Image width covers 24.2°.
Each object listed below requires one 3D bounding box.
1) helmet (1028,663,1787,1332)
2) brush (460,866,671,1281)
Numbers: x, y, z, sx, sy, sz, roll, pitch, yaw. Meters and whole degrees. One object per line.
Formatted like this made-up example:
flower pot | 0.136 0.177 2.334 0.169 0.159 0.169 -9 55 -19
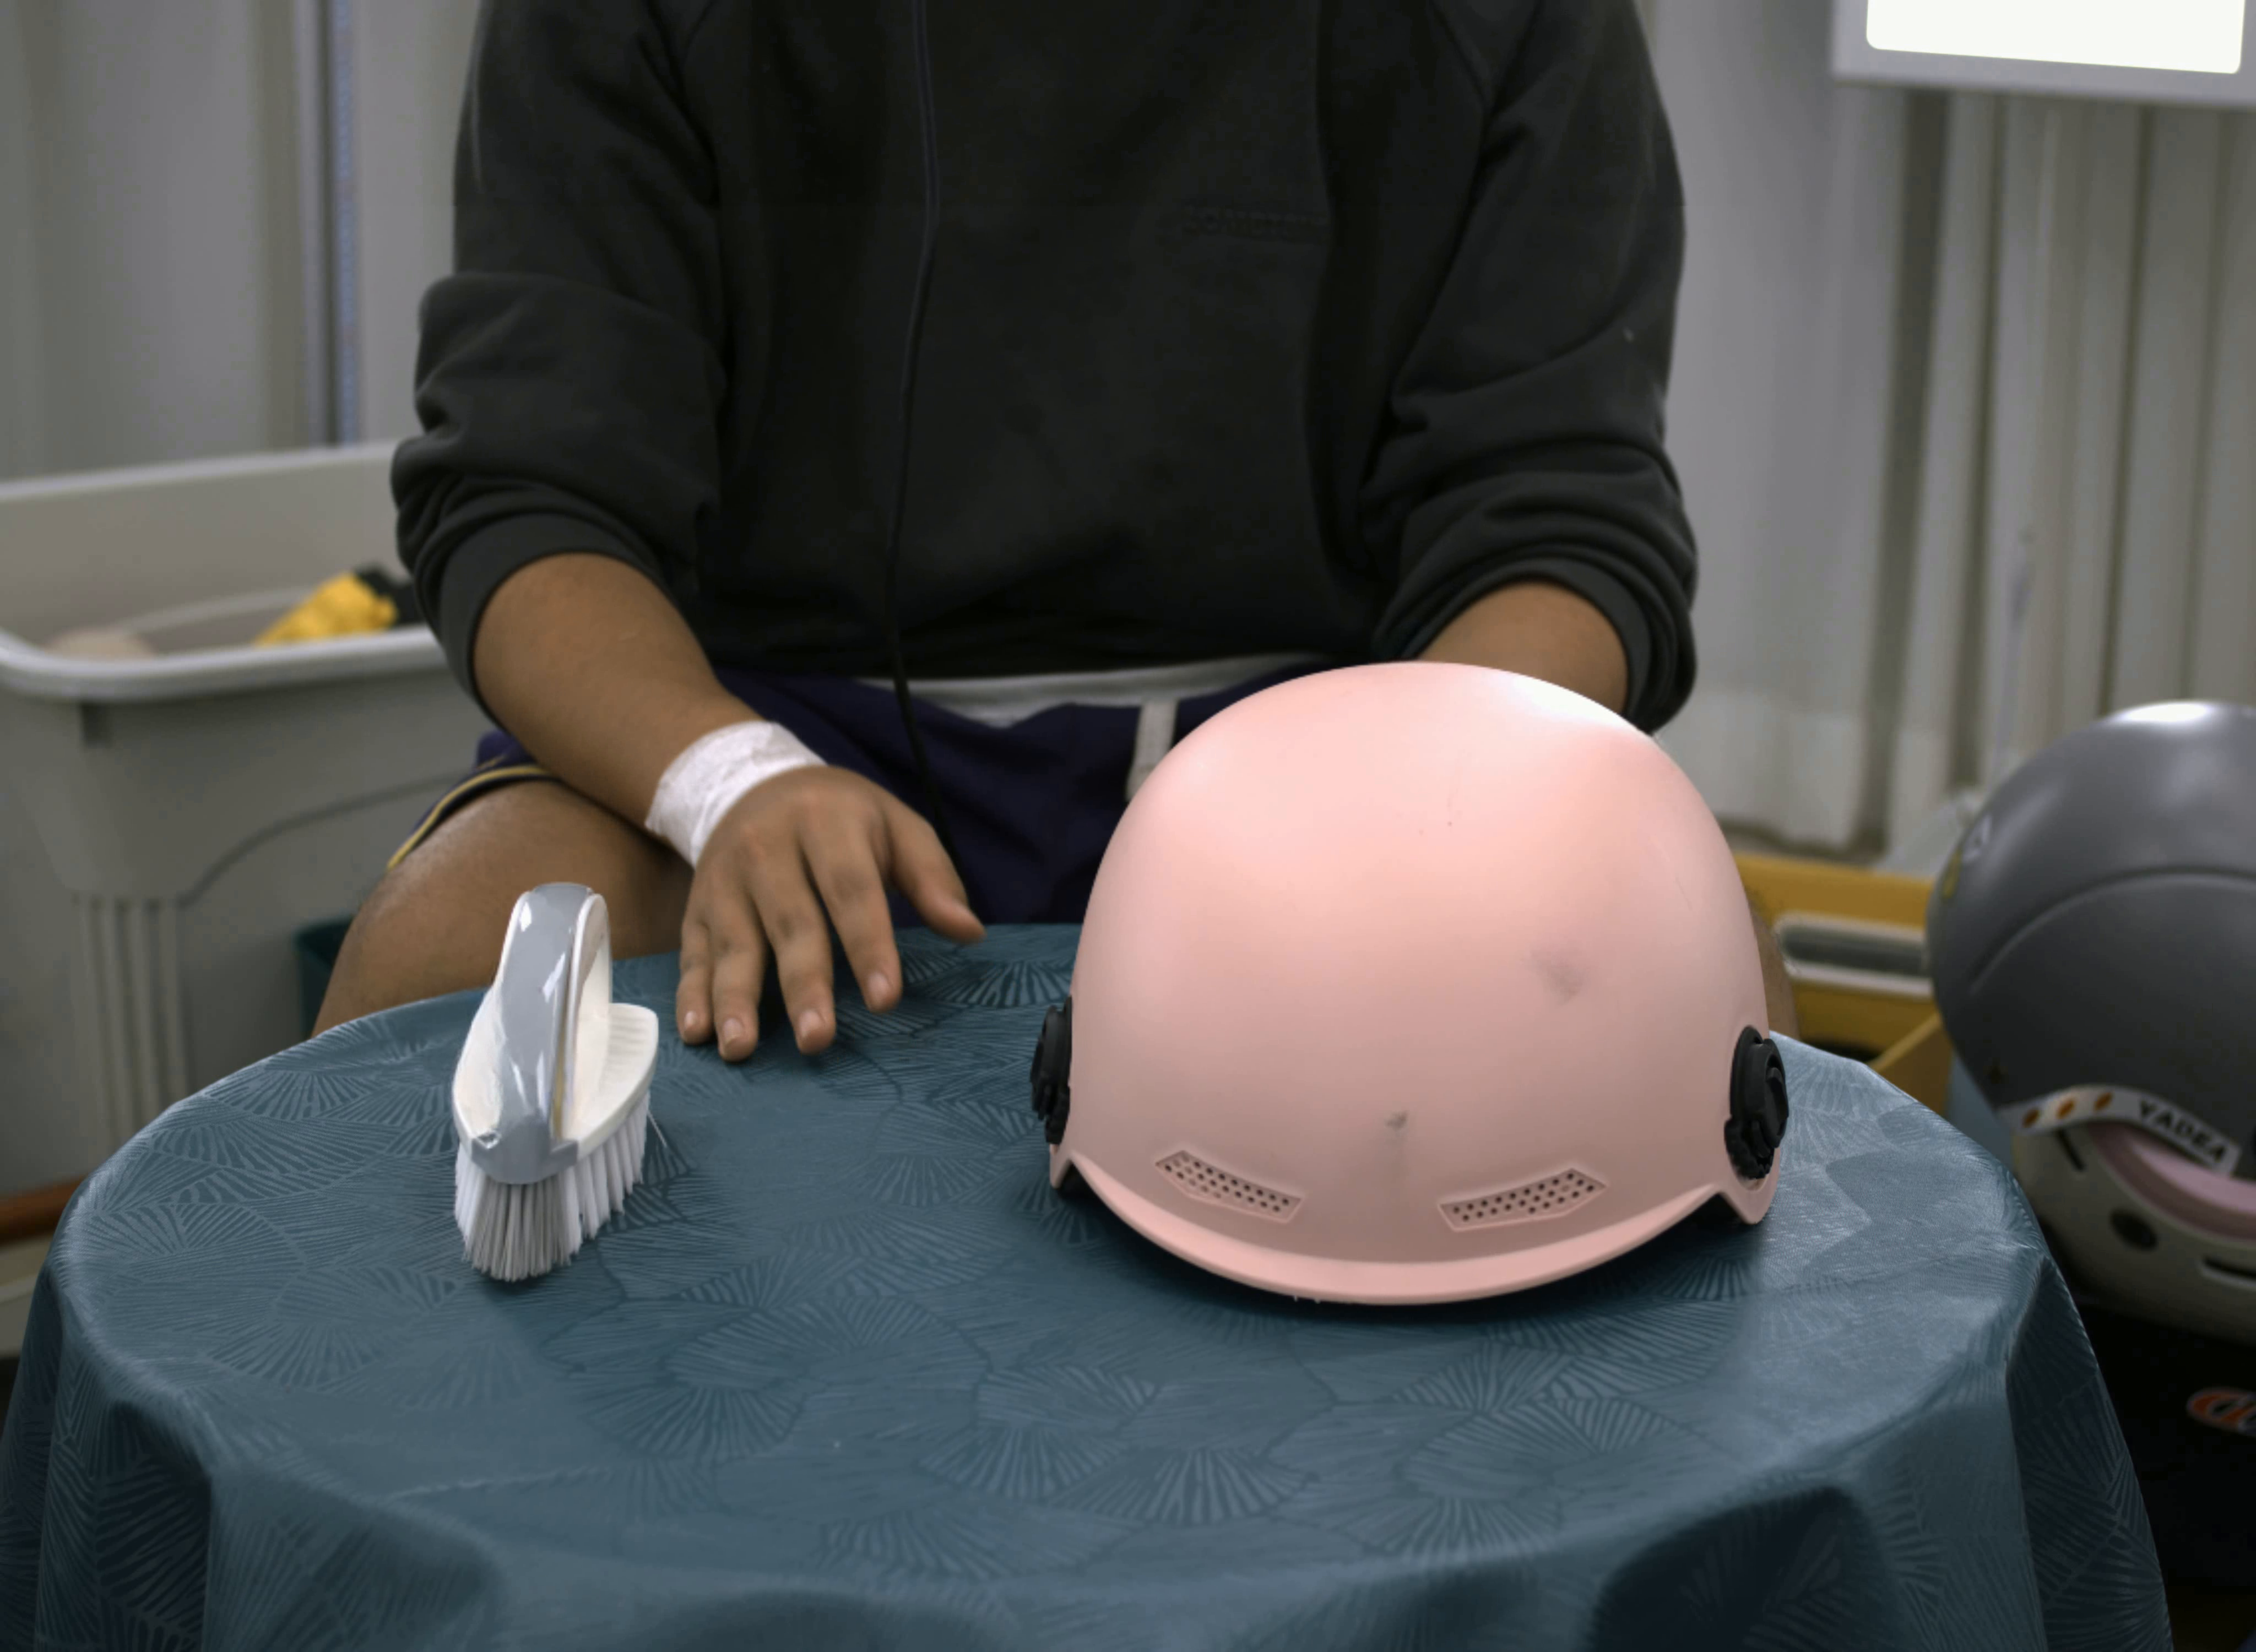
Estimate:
helmet | 0.087 0.038 1.613 0.233 0.160 0.265 3 20 7
brush | -0.175 0.069 1.601 0.061 0.095 0.174 -1 17 1
